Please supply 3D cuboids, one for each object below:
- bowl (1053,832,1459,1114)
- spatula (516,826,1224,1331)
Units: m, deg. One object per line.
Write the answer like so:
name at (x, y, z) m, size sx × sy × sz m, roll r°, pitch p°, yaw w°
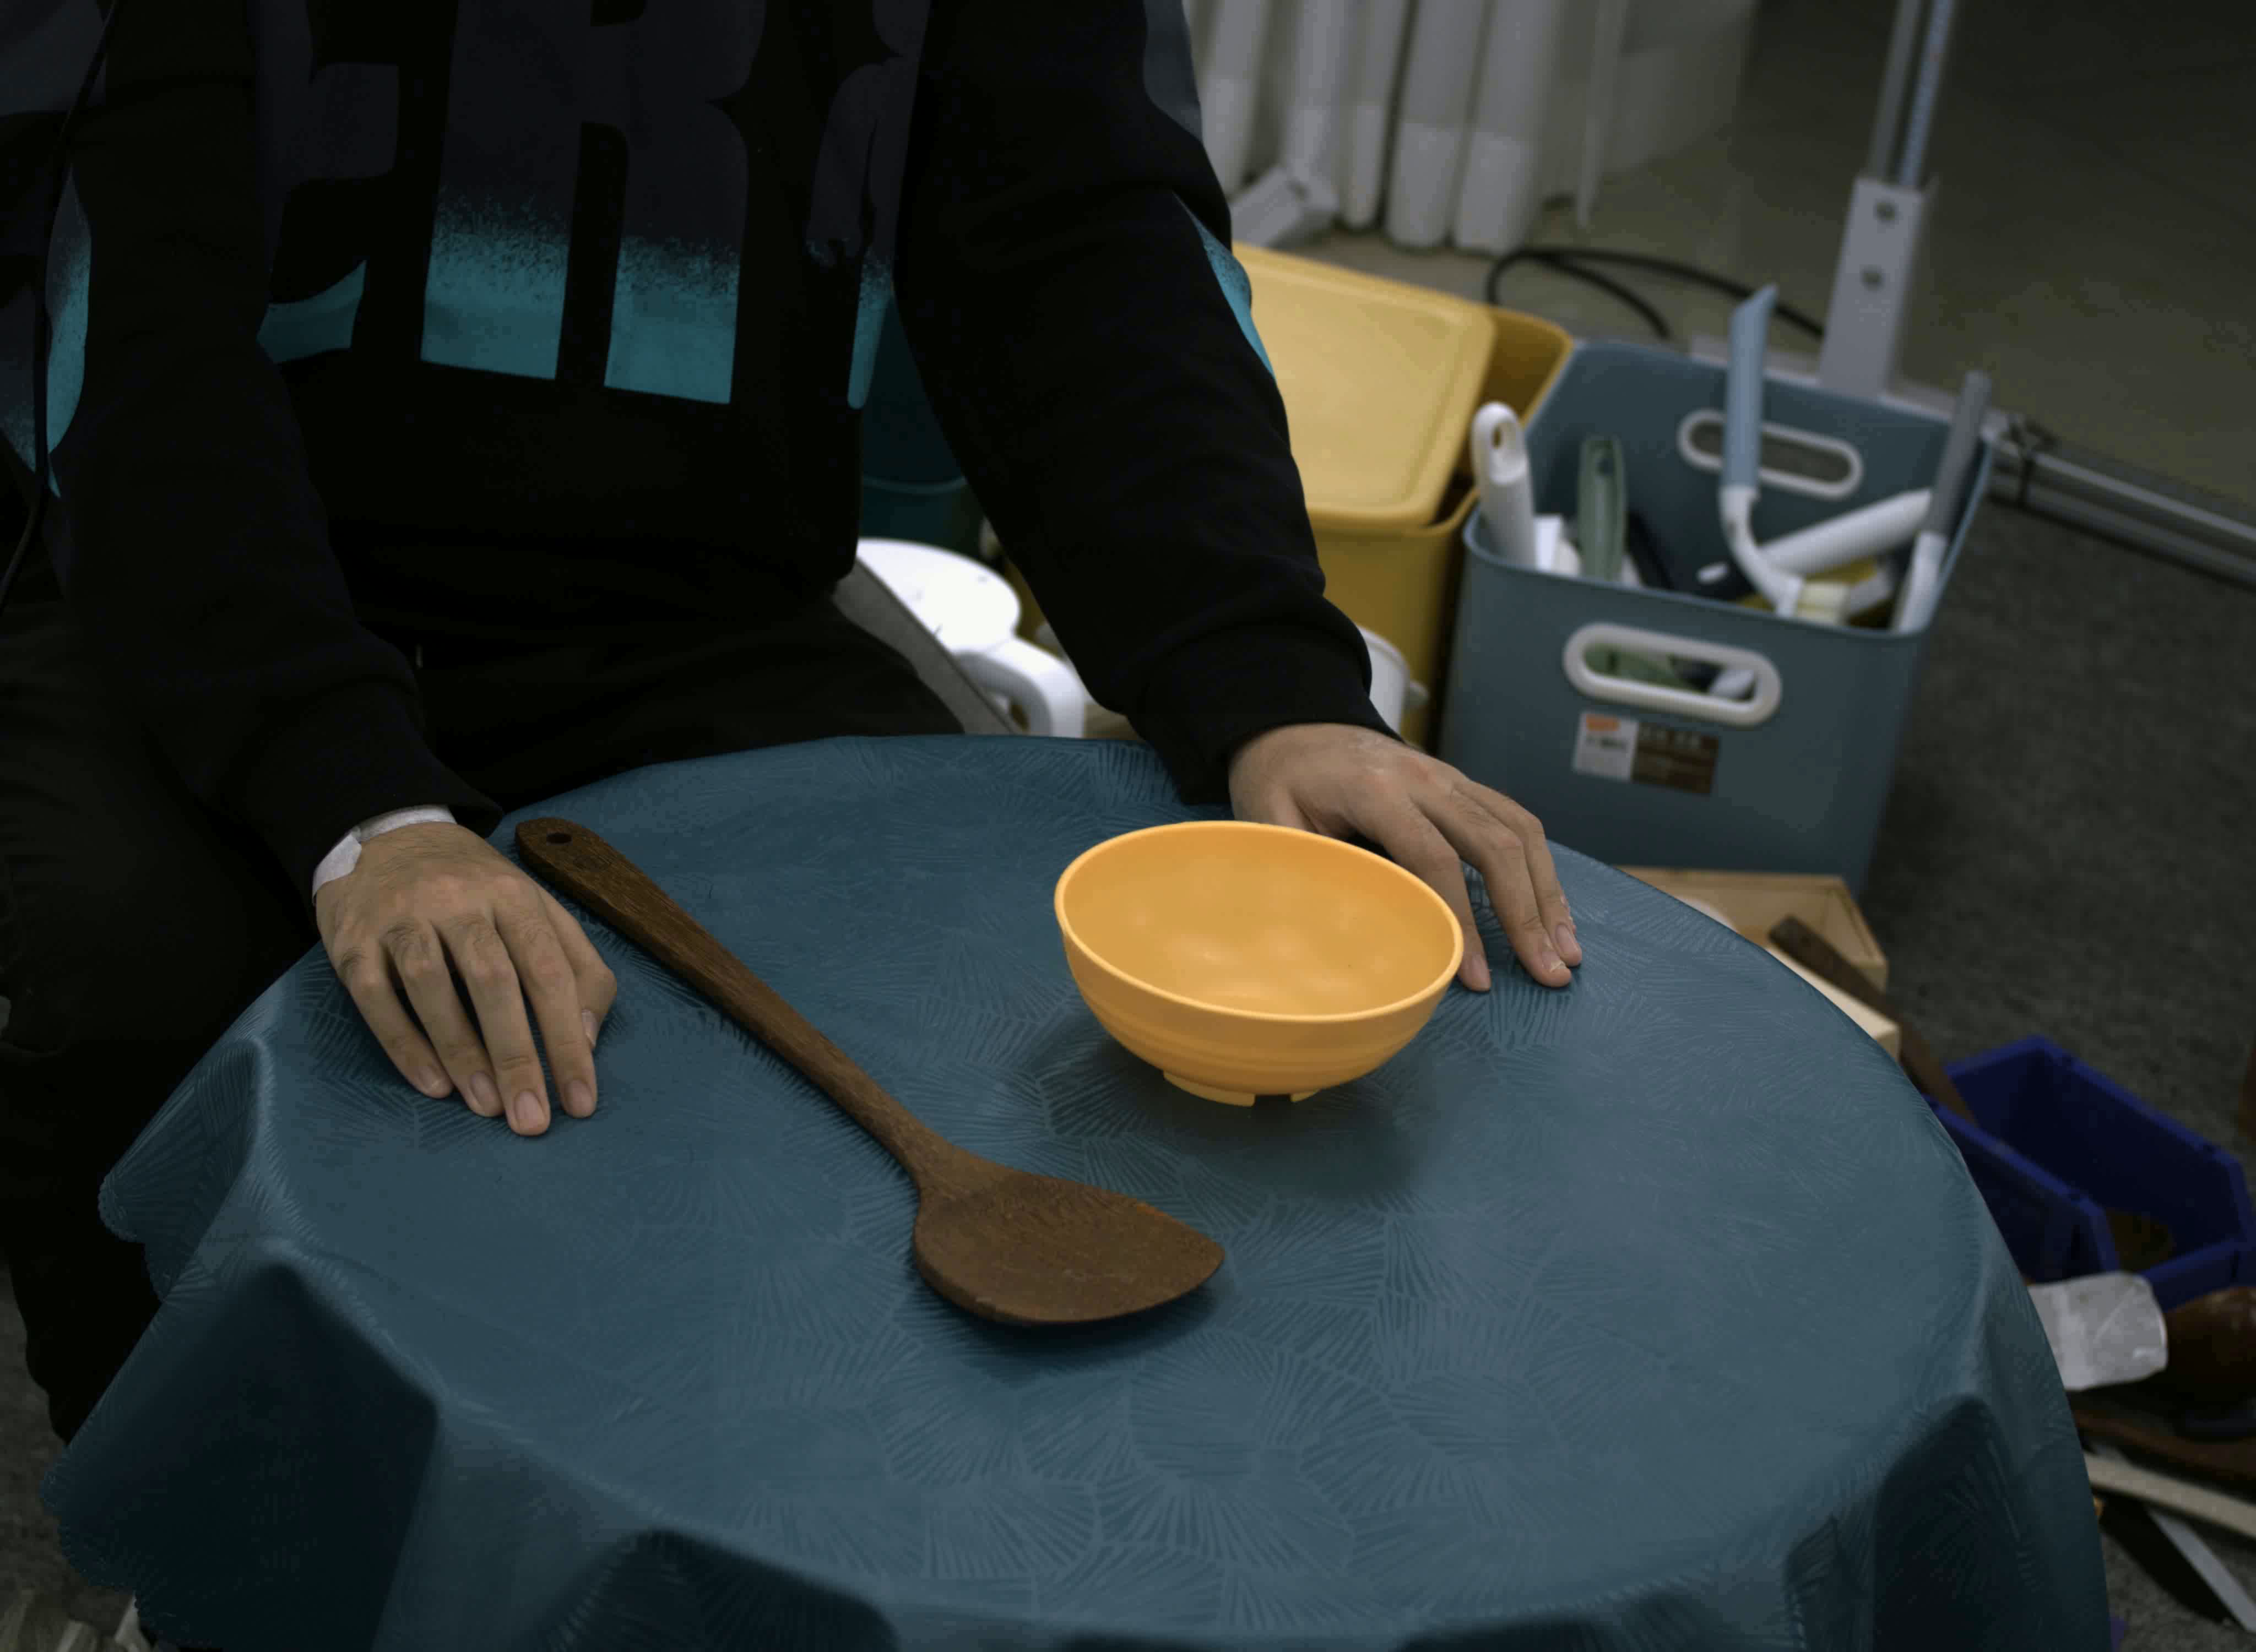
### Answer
bowl at (0.041, 0.060, 1.875) m, size 0.145 × 0.060 × 0.146 m, roll 7°, pitch 25°, yaw -4°
spatula at (-0.110, 0.080, 1.848) m, size 0.095 × 0.016 × 0.389 m, roll -13°, pitch 32°, yaw -34°
